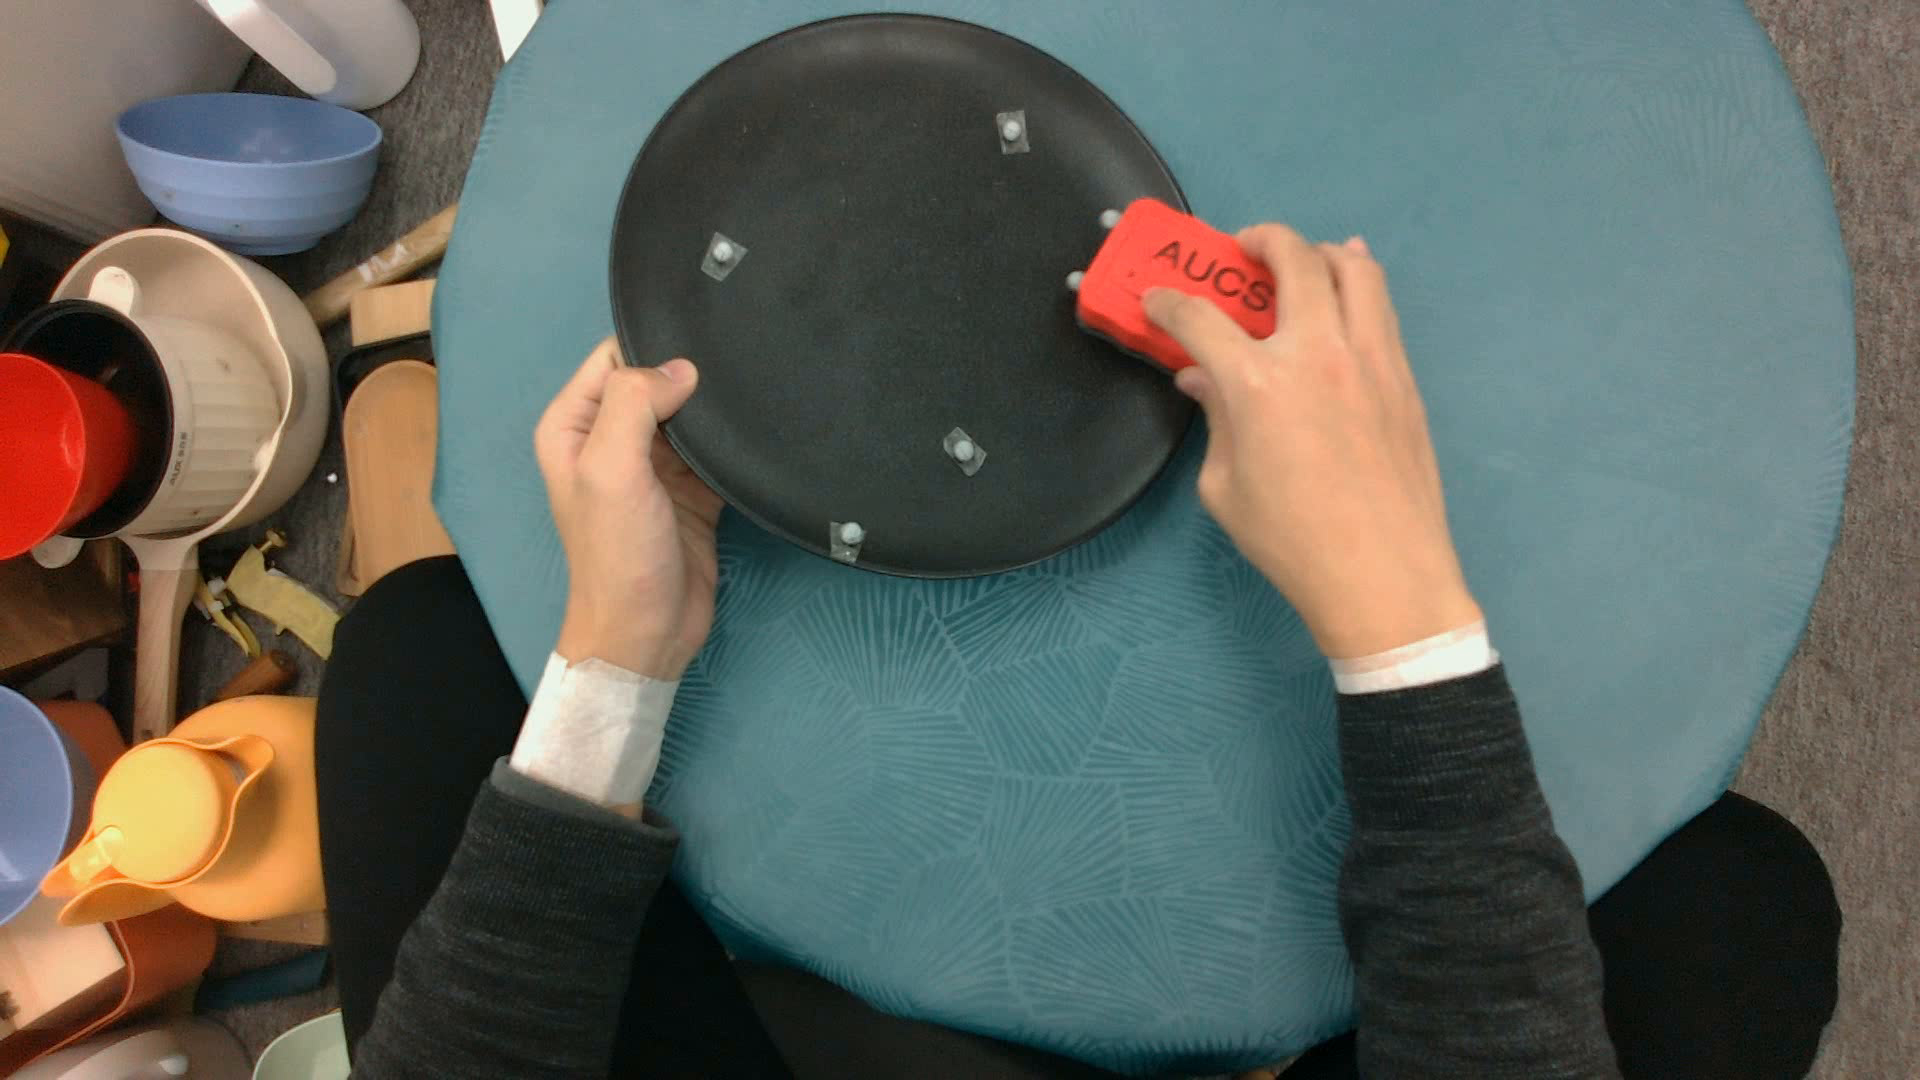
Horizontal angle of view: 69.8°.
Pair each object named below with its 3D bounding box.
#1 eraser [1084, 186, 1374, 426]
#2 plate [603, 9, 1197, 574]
[{"bbox_3d":[0.108,-0.095,0.558,0.108,0.023,0.059,31,87,8],"label":"eraser"},{"bbox_3d":[-0.019,-0.103,0.558,0.244,0.023,0.245,3,75,-12],"label":"plate"}]
